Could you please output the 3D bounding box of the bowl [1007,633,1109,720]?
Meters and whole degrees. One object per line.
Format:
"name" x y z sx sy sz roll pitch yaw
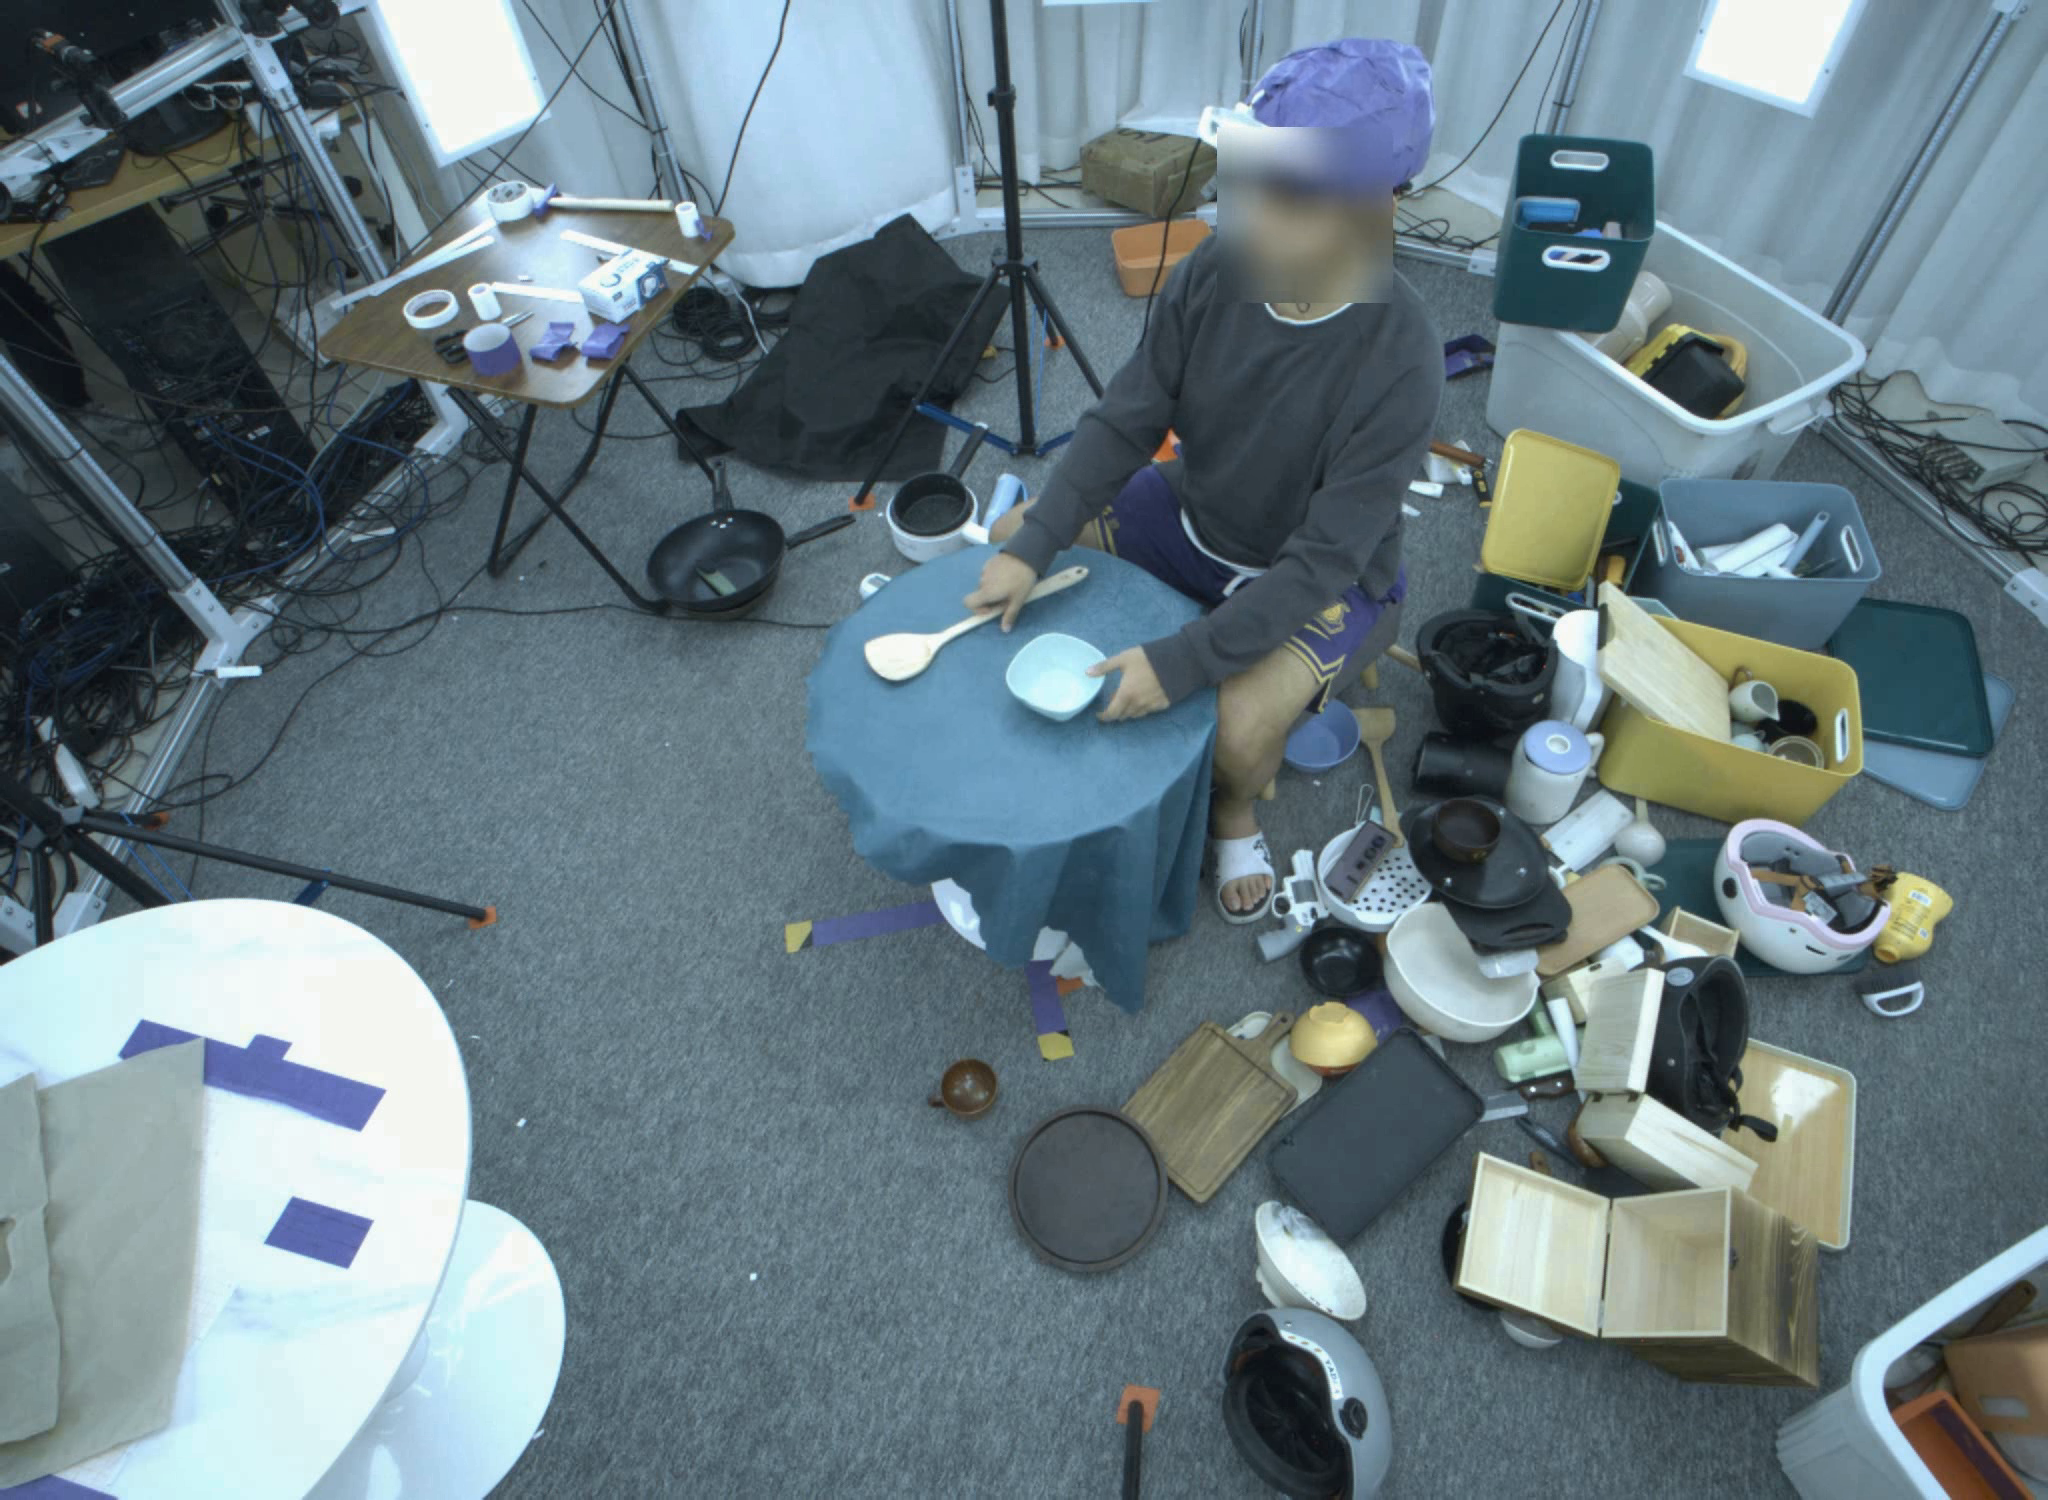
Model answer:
"bowl" 0.052 -0.099 1.825 0.151 0.059 0.150 -1 56 3

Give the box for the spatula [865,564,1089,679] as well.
"spatula" -0.068 -0.214 1.934 0.394 0.018 0.094 -28 60 -16
